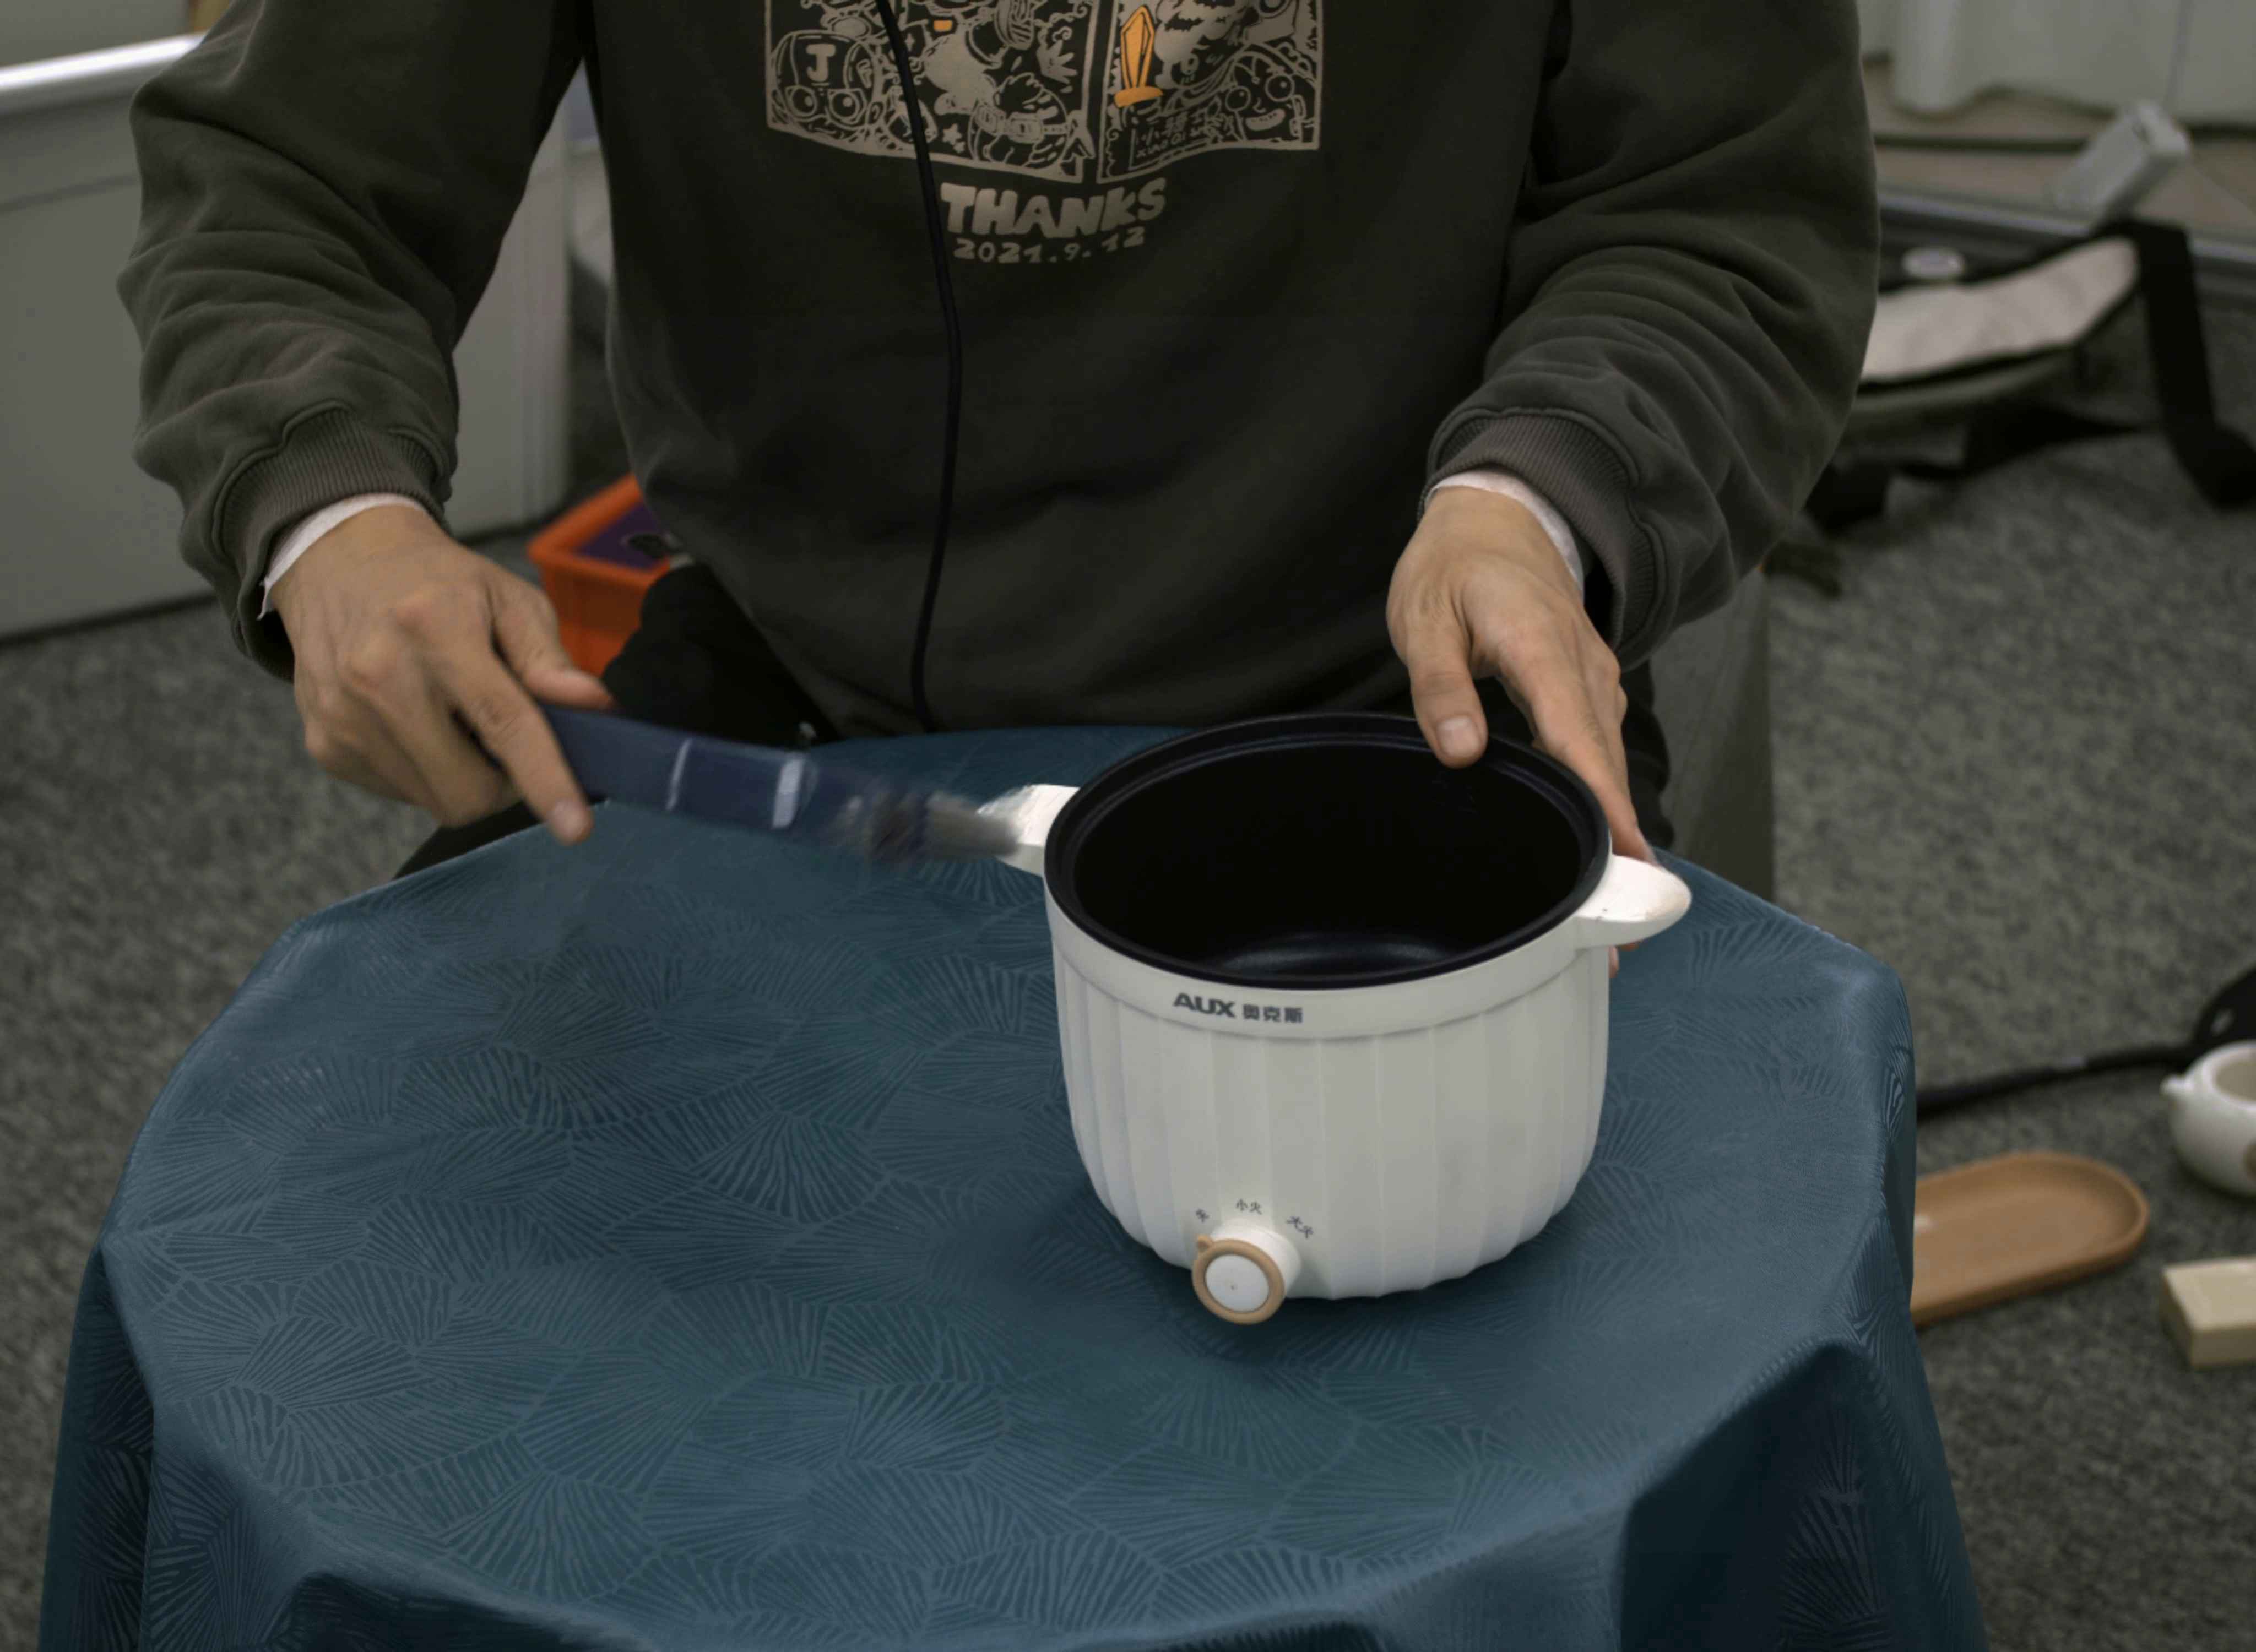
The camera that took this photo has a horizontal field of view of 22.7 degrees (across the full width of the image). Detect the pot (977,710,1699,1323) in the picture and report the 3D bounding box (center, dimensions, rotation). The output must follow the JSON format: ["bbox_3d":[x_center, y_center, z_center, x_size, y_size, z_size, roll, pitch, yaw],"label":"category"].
[{"bbox_3d":[0.067,0.065,1.814,0.238,0.141,0.193,6,25,19],"label":"pot"}]

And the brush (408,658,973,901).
[{"bbox_3d":[-0.156,-0.015,1.769,0.272,0.033,0.096,14,8,39],"label":"brush"}]
